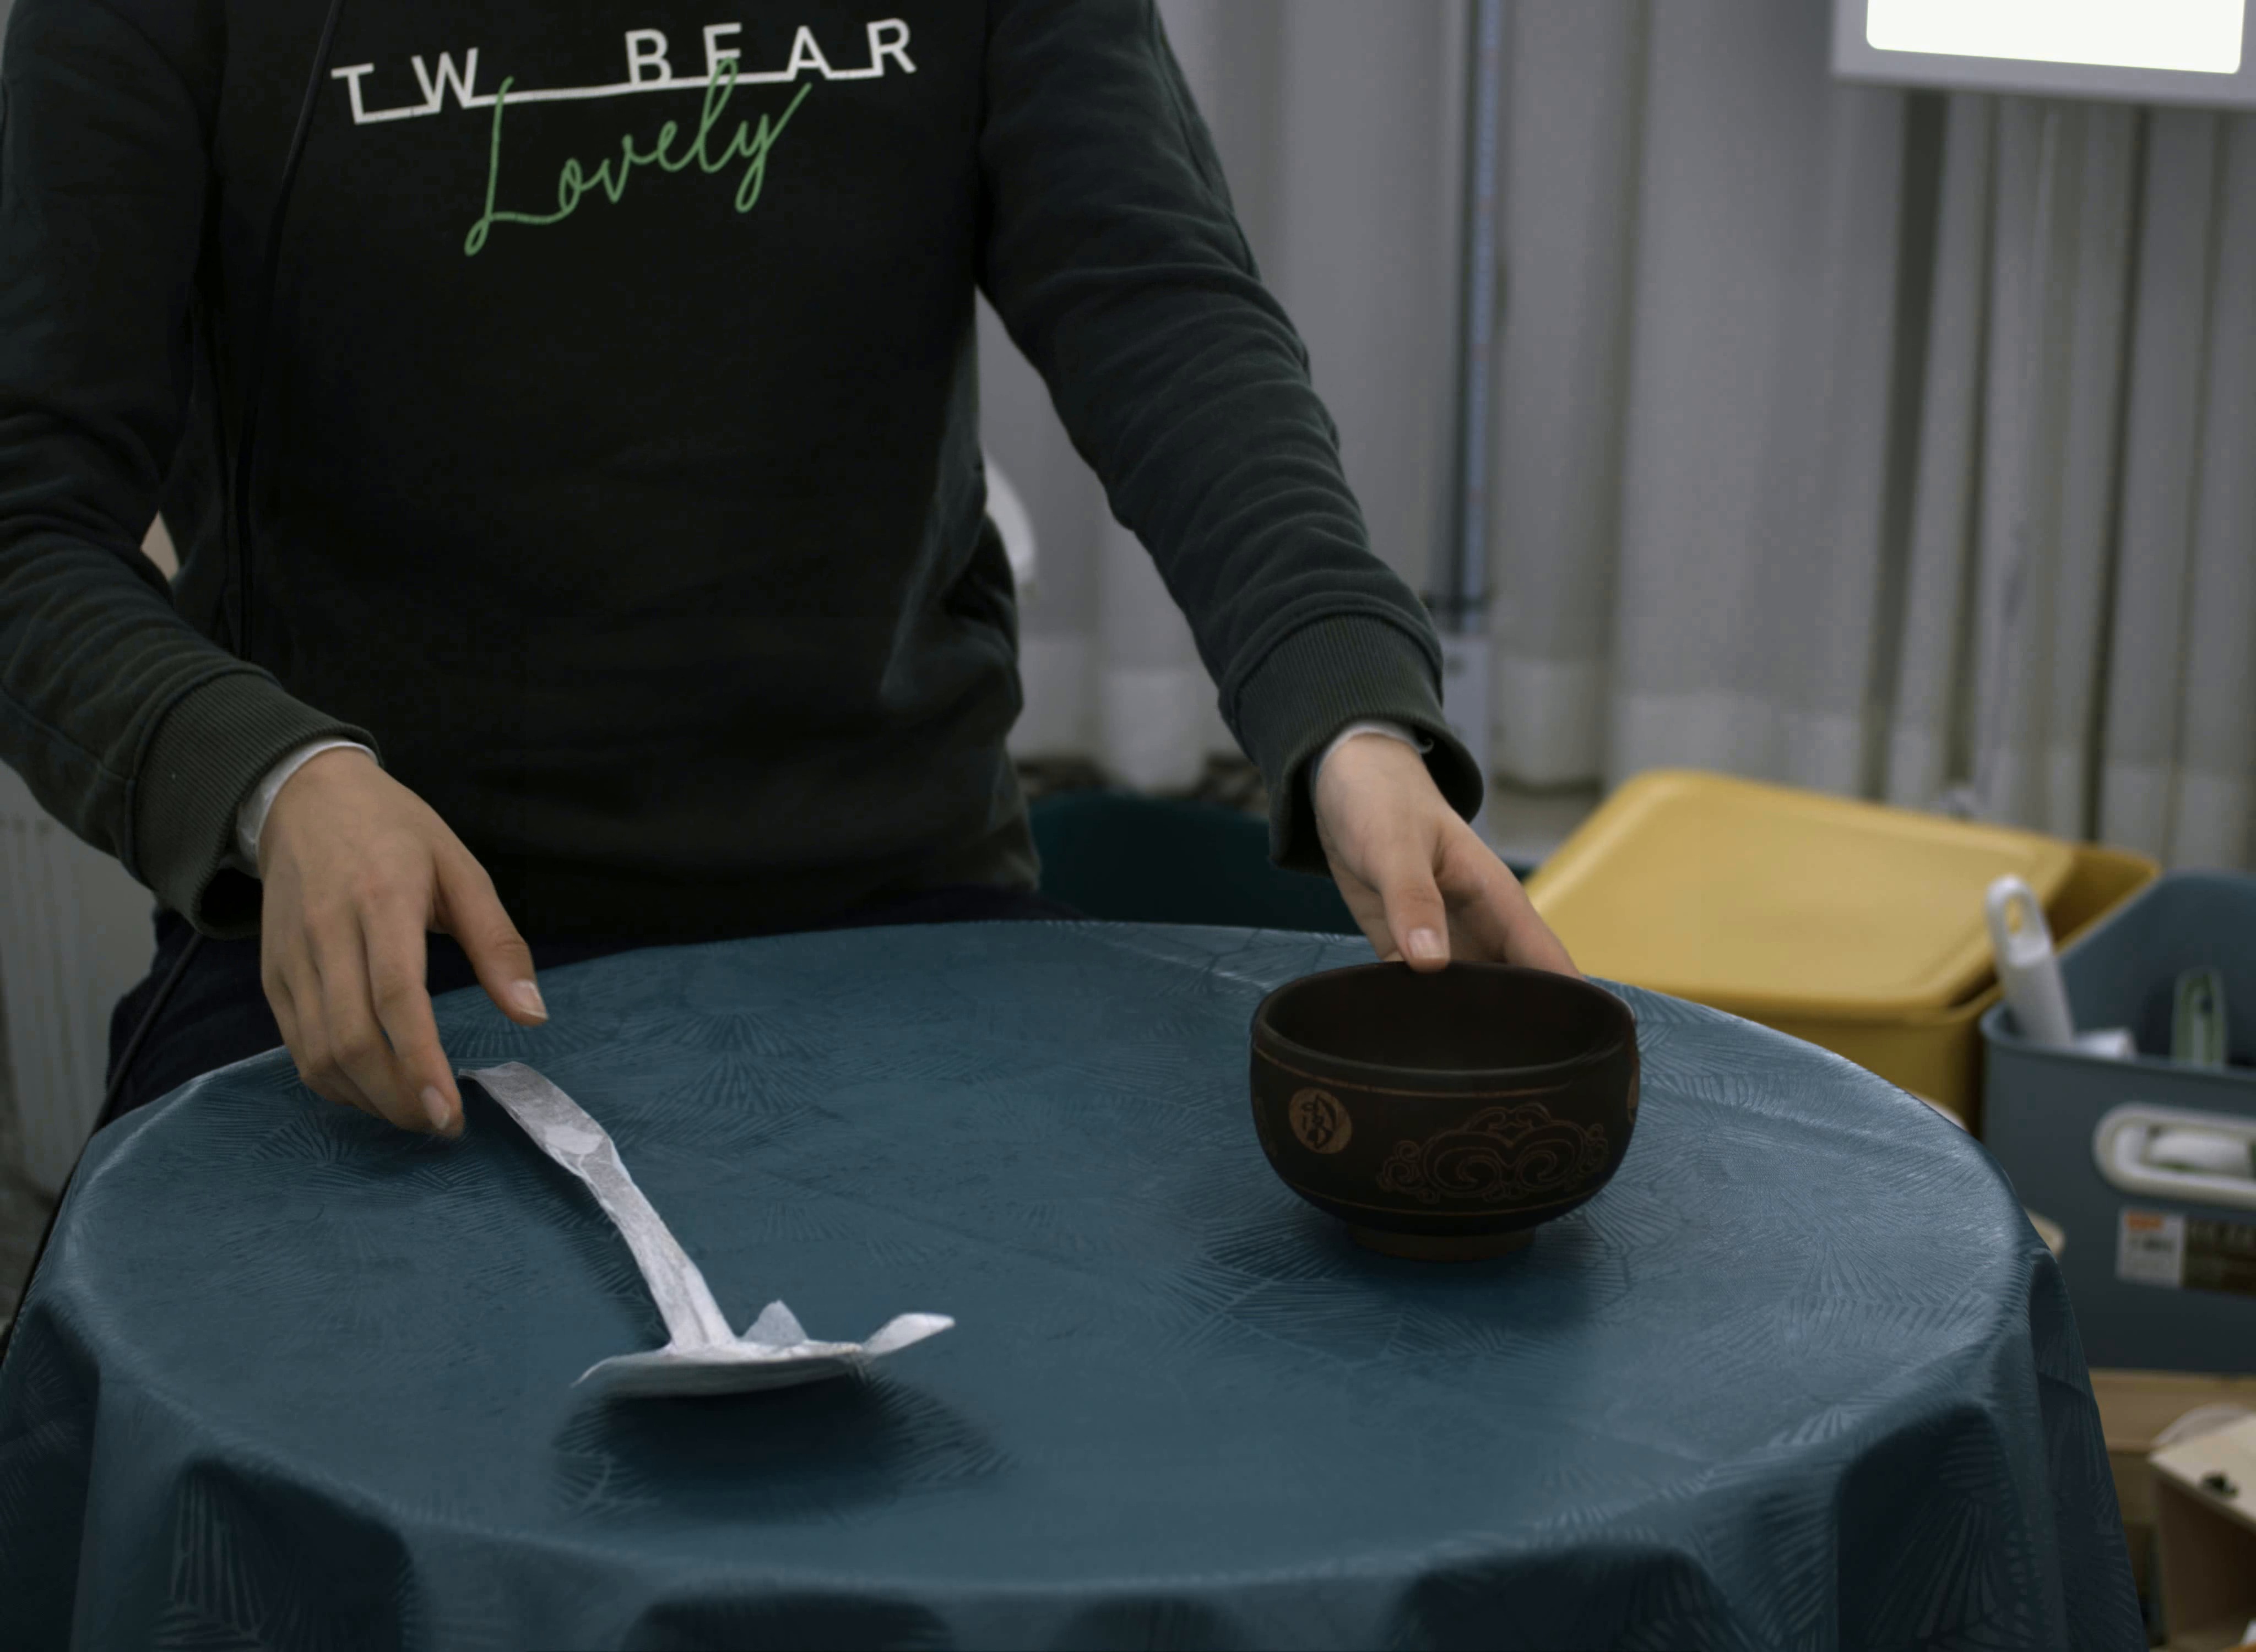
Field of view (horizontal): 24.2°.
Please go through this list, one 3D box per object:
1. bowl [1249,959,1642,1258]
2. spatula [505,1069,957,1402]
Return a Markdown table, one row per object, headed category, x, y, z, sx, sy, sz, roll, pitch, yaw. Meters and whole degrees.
| category | x | y | z | sx | sy | sz | roll | pitch | yaw |
| --- | --- | --- | --- | --- | --- | --- | --- | --- | --- |
| bowl | 0.095 | 0.088 | 1.584 | 0.117 | 0.070 | 0.117 | 2 | 15 | 0 |
| spatula | -0.142 | 0.111 | 1.554 | 0.099 | 0.045 | 0.361 | -7 | 18 | -18 |
